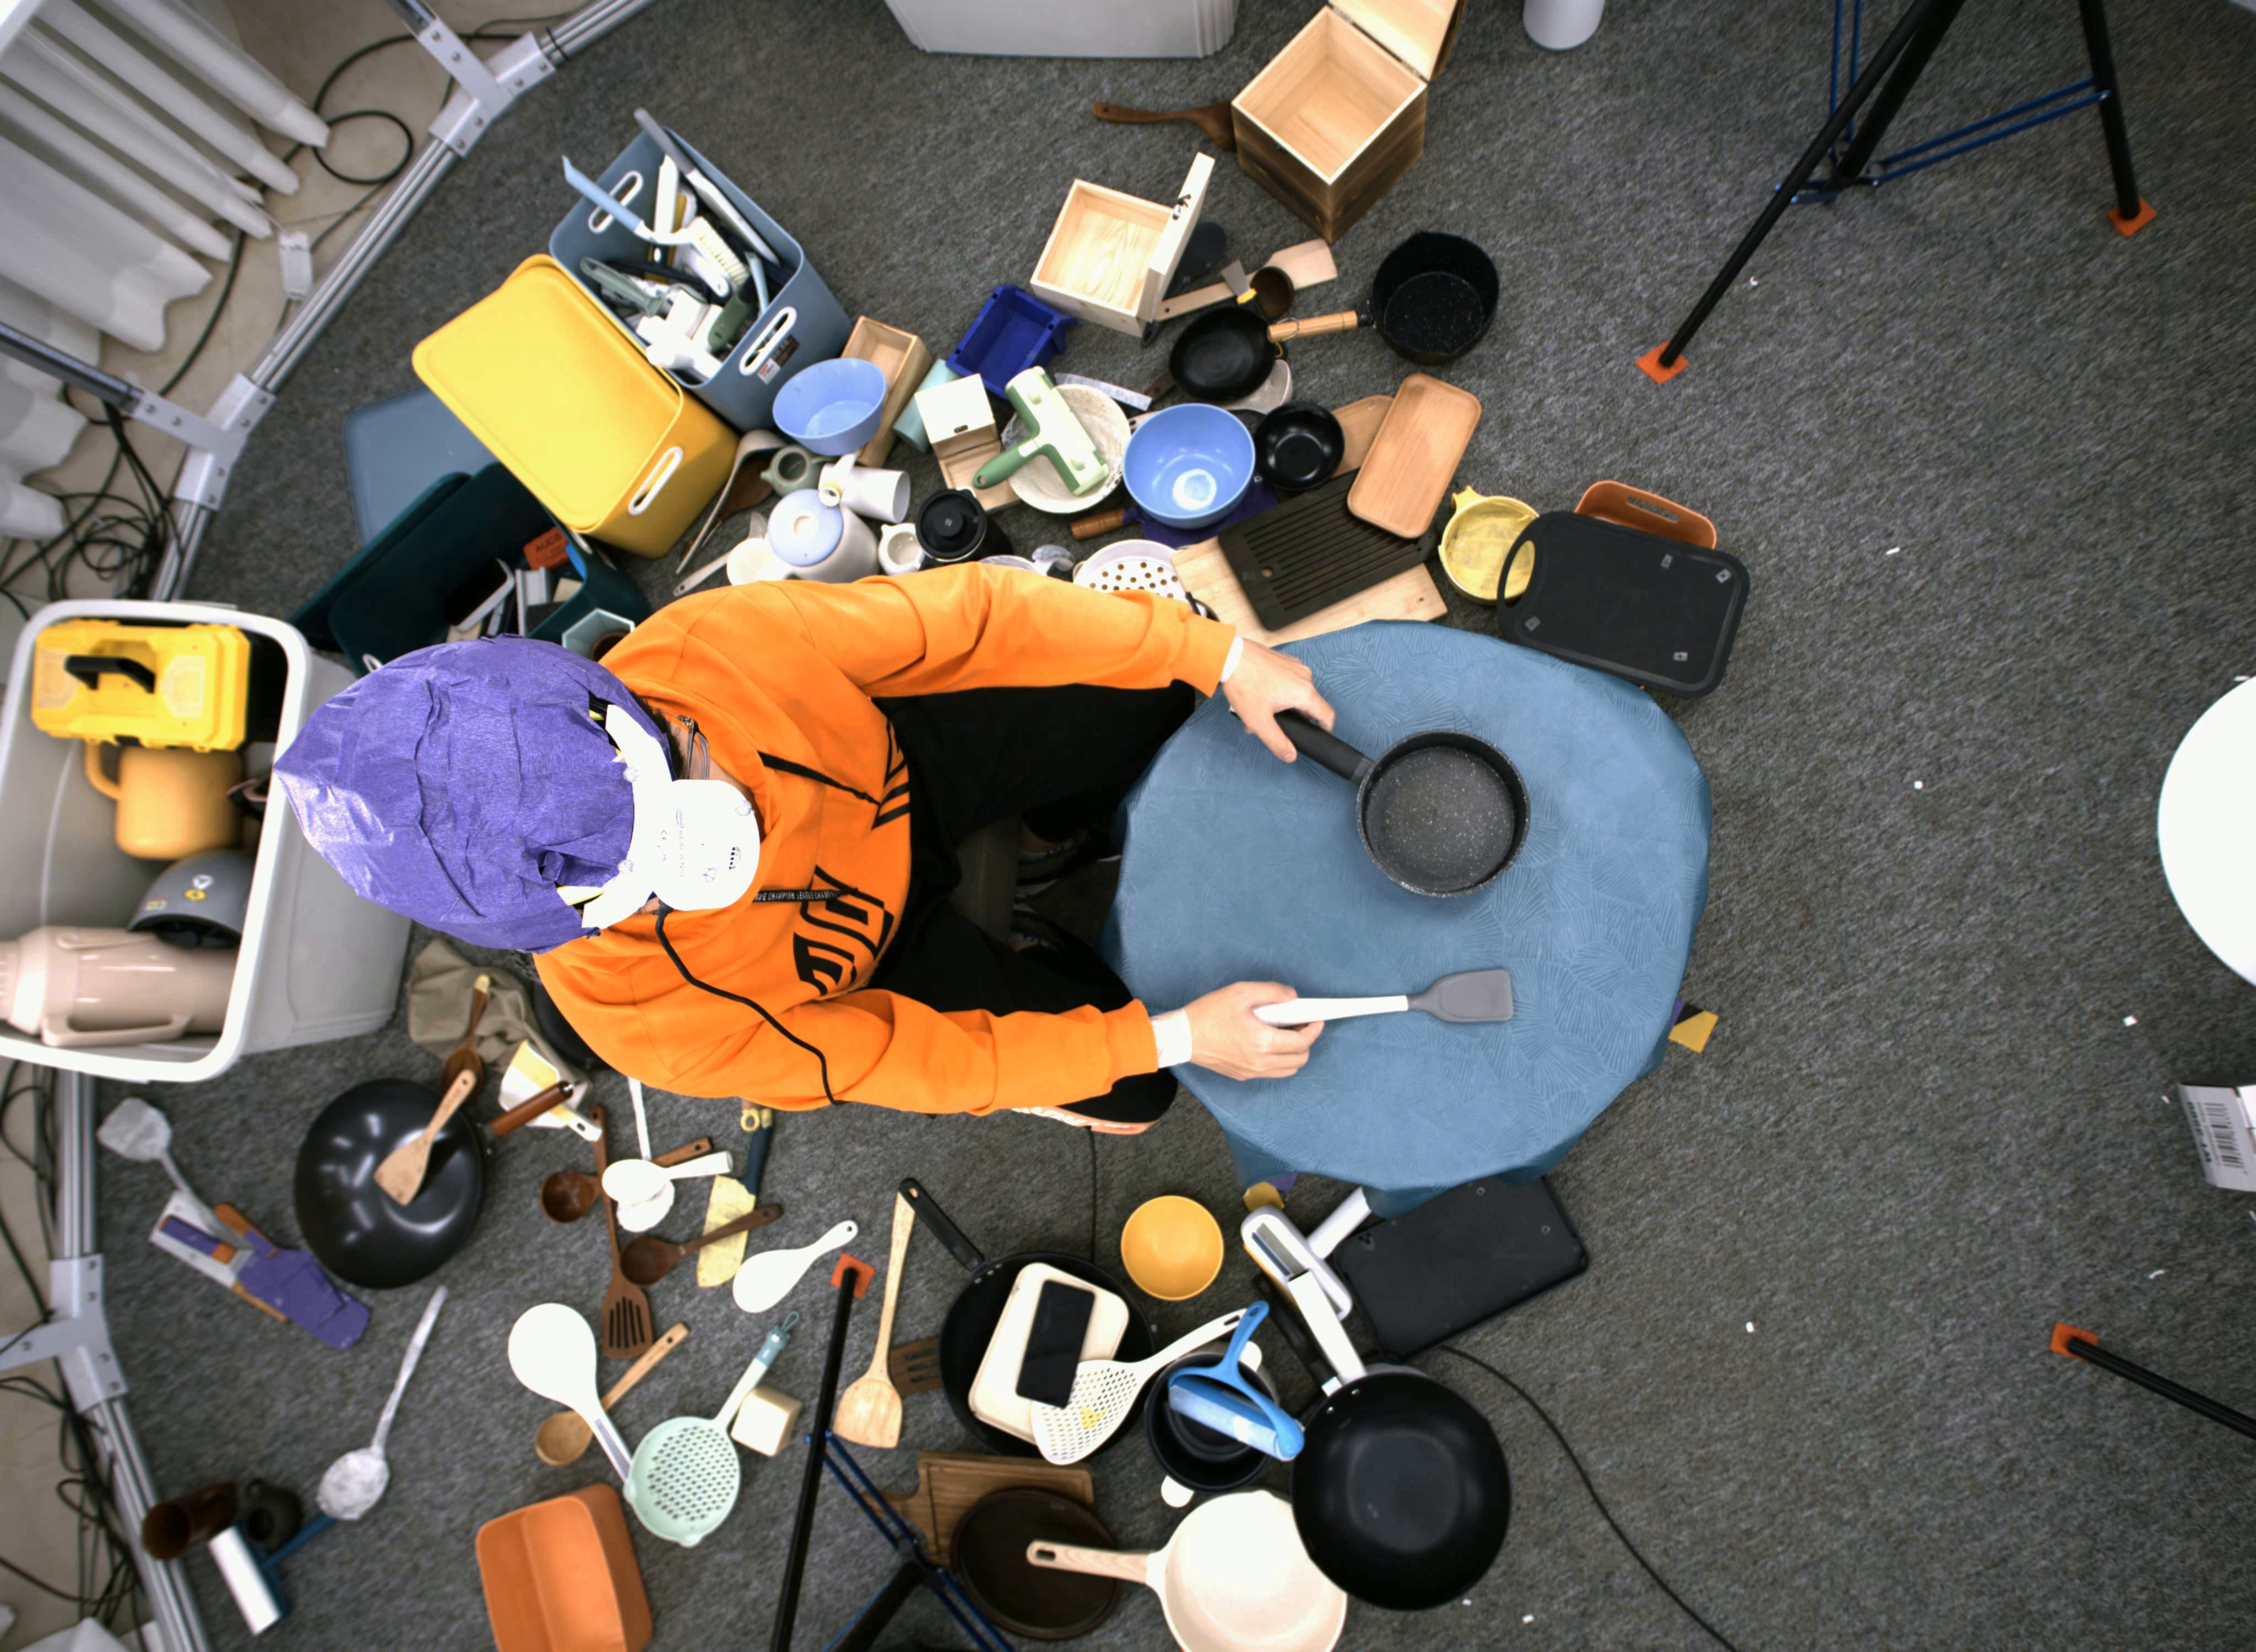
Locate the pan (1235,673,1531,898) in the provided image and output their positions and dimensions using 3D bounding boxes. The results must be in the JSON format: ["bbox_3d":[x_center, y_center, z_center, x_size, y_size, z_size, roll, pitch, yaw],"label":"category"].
[{"bbox_3d":[0.256,-0.054,1.427,0.328,0.086,0.172,33,92,9],"label":"pan"}]

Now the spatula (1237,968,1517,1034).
[{"bbox_3d":[0.257,0.185,1.434,0.288,0.032,0.058,-5,76,2],"label":"spatula"}]
